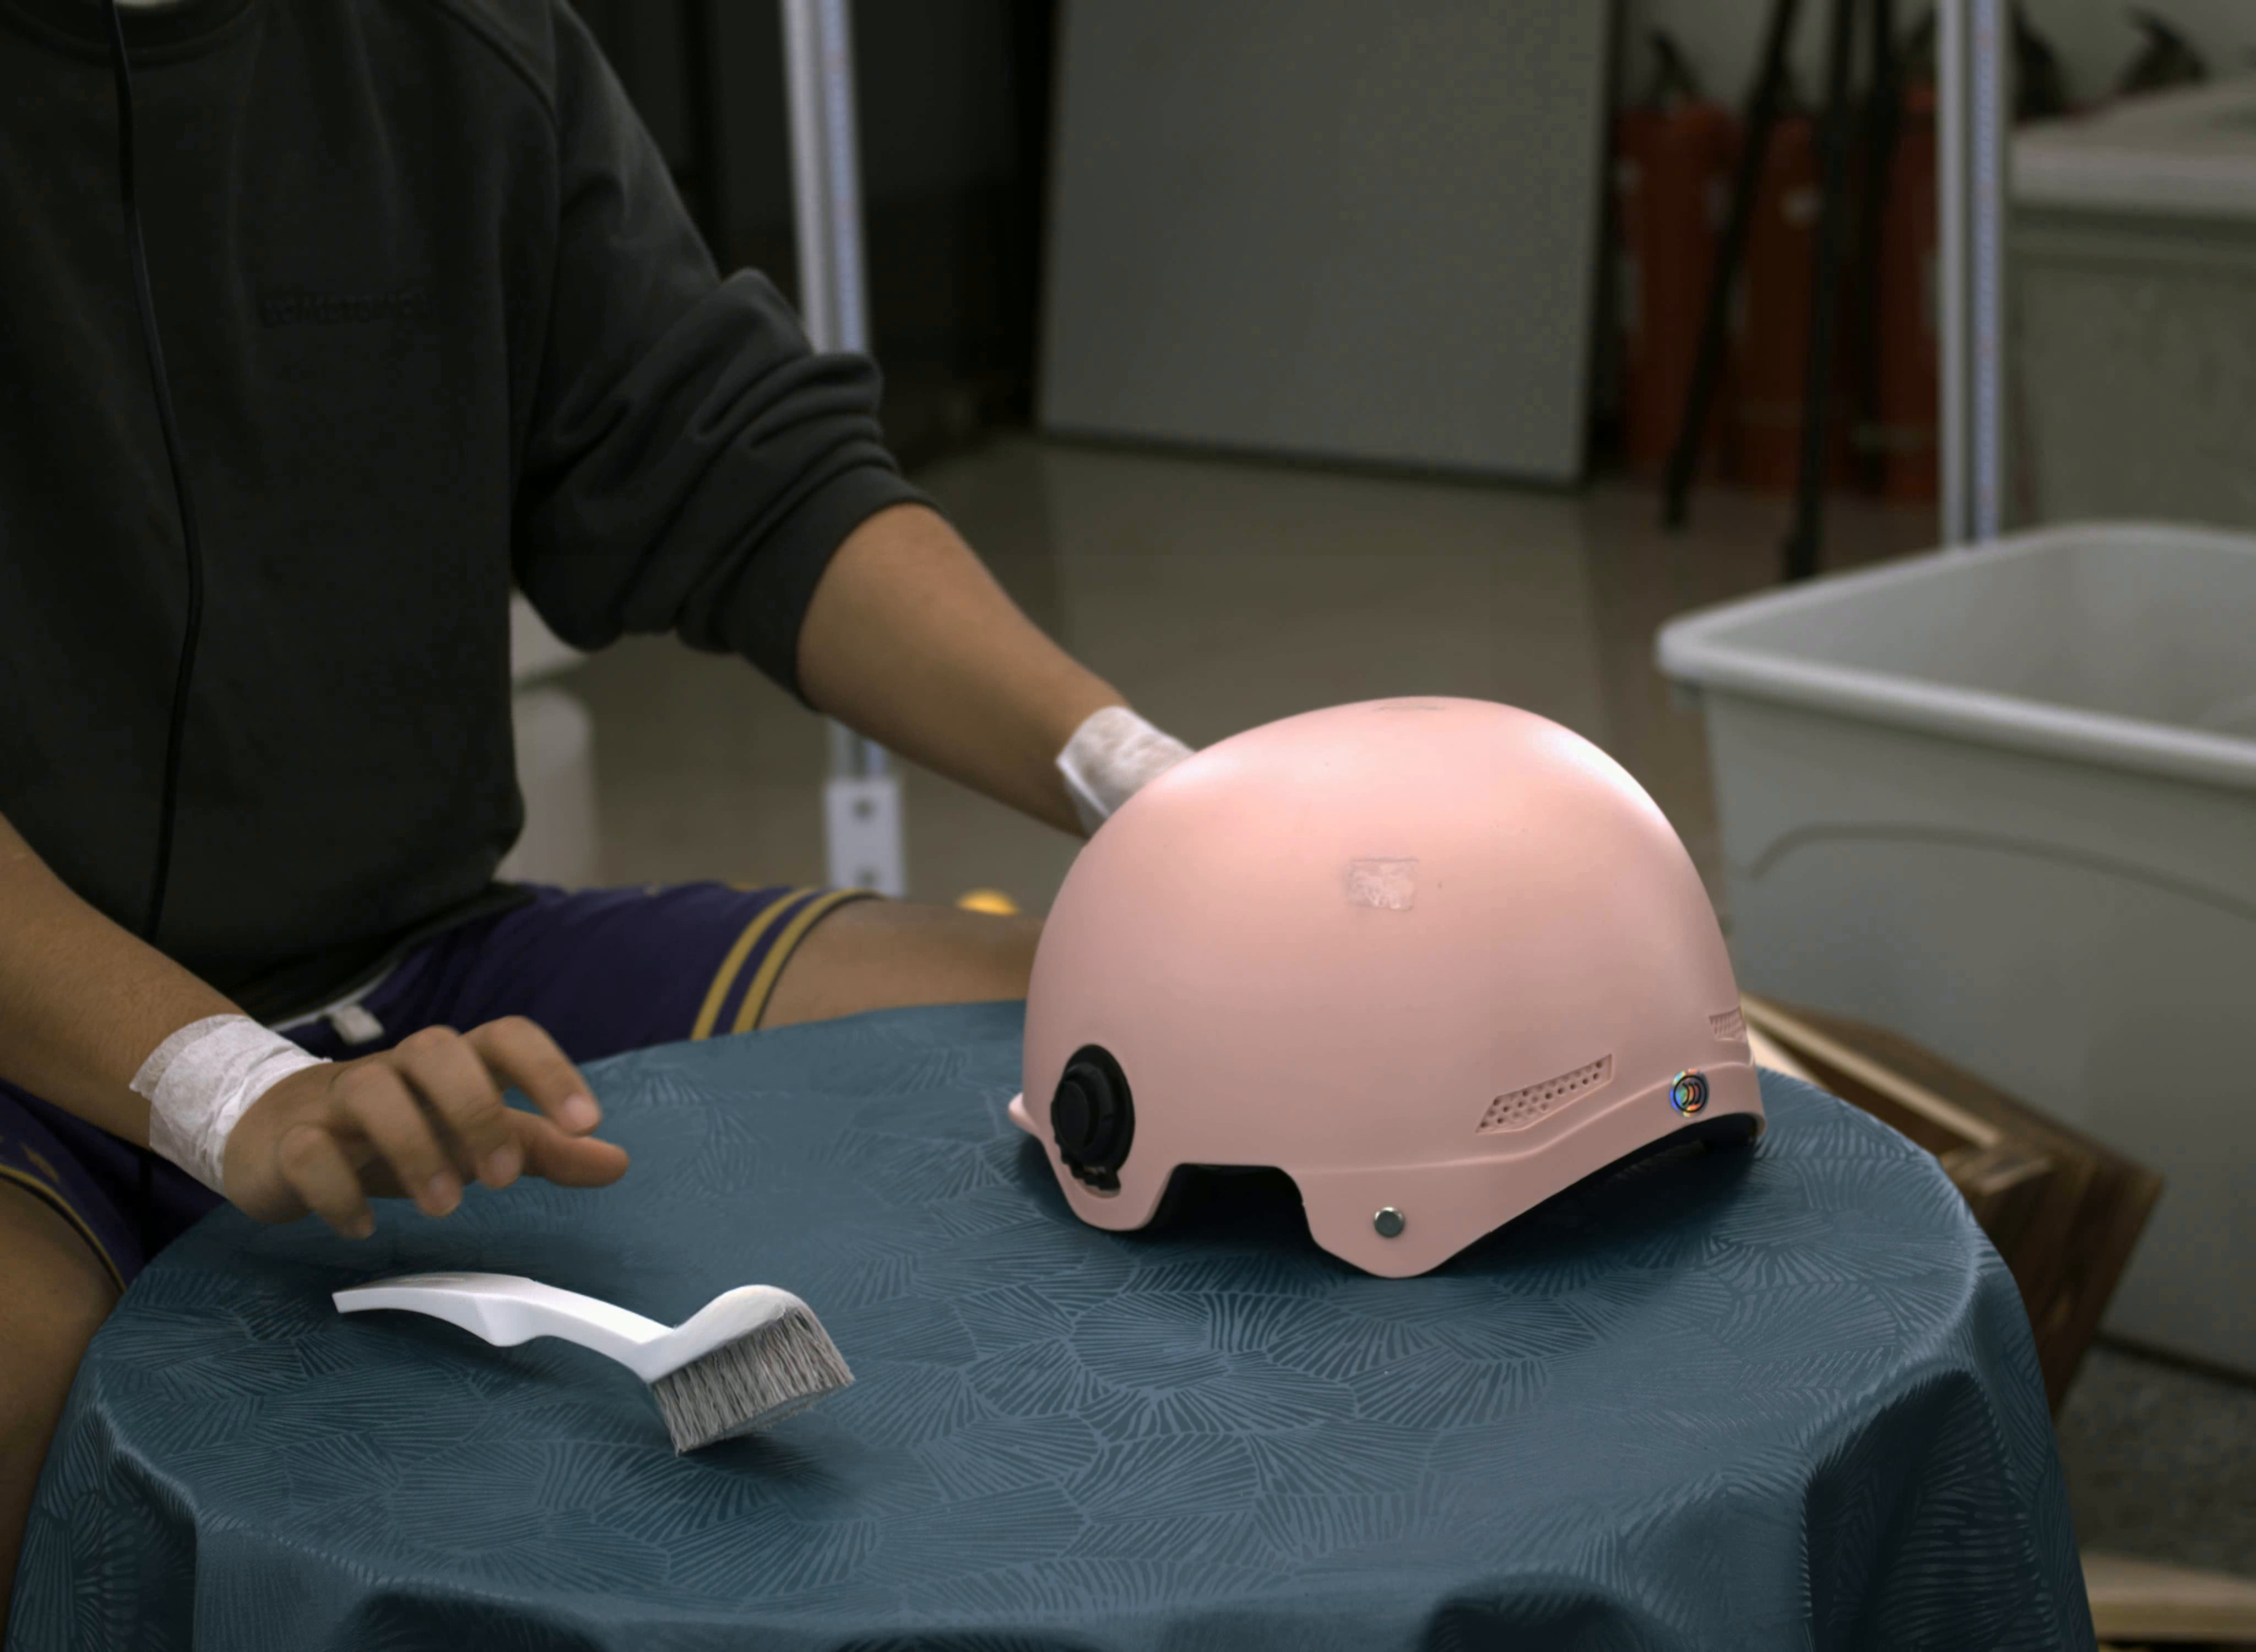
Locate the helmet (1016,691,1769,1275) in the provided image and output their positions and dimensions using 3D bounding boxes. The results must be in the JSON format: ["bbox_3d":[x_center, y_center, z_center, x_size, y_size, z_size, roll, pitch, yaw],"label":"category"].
[{"bbox_3d":[0.077,0.038,1.770,0.229,0.160,0.268,-18,15,-42],"label":"helmet"}]

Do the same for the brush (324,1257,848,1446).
[{"bbox_3d":[-0.165,0.159,1.612,0.033,0.051,0.246,-14,3,-40],"label":"brush"}]
